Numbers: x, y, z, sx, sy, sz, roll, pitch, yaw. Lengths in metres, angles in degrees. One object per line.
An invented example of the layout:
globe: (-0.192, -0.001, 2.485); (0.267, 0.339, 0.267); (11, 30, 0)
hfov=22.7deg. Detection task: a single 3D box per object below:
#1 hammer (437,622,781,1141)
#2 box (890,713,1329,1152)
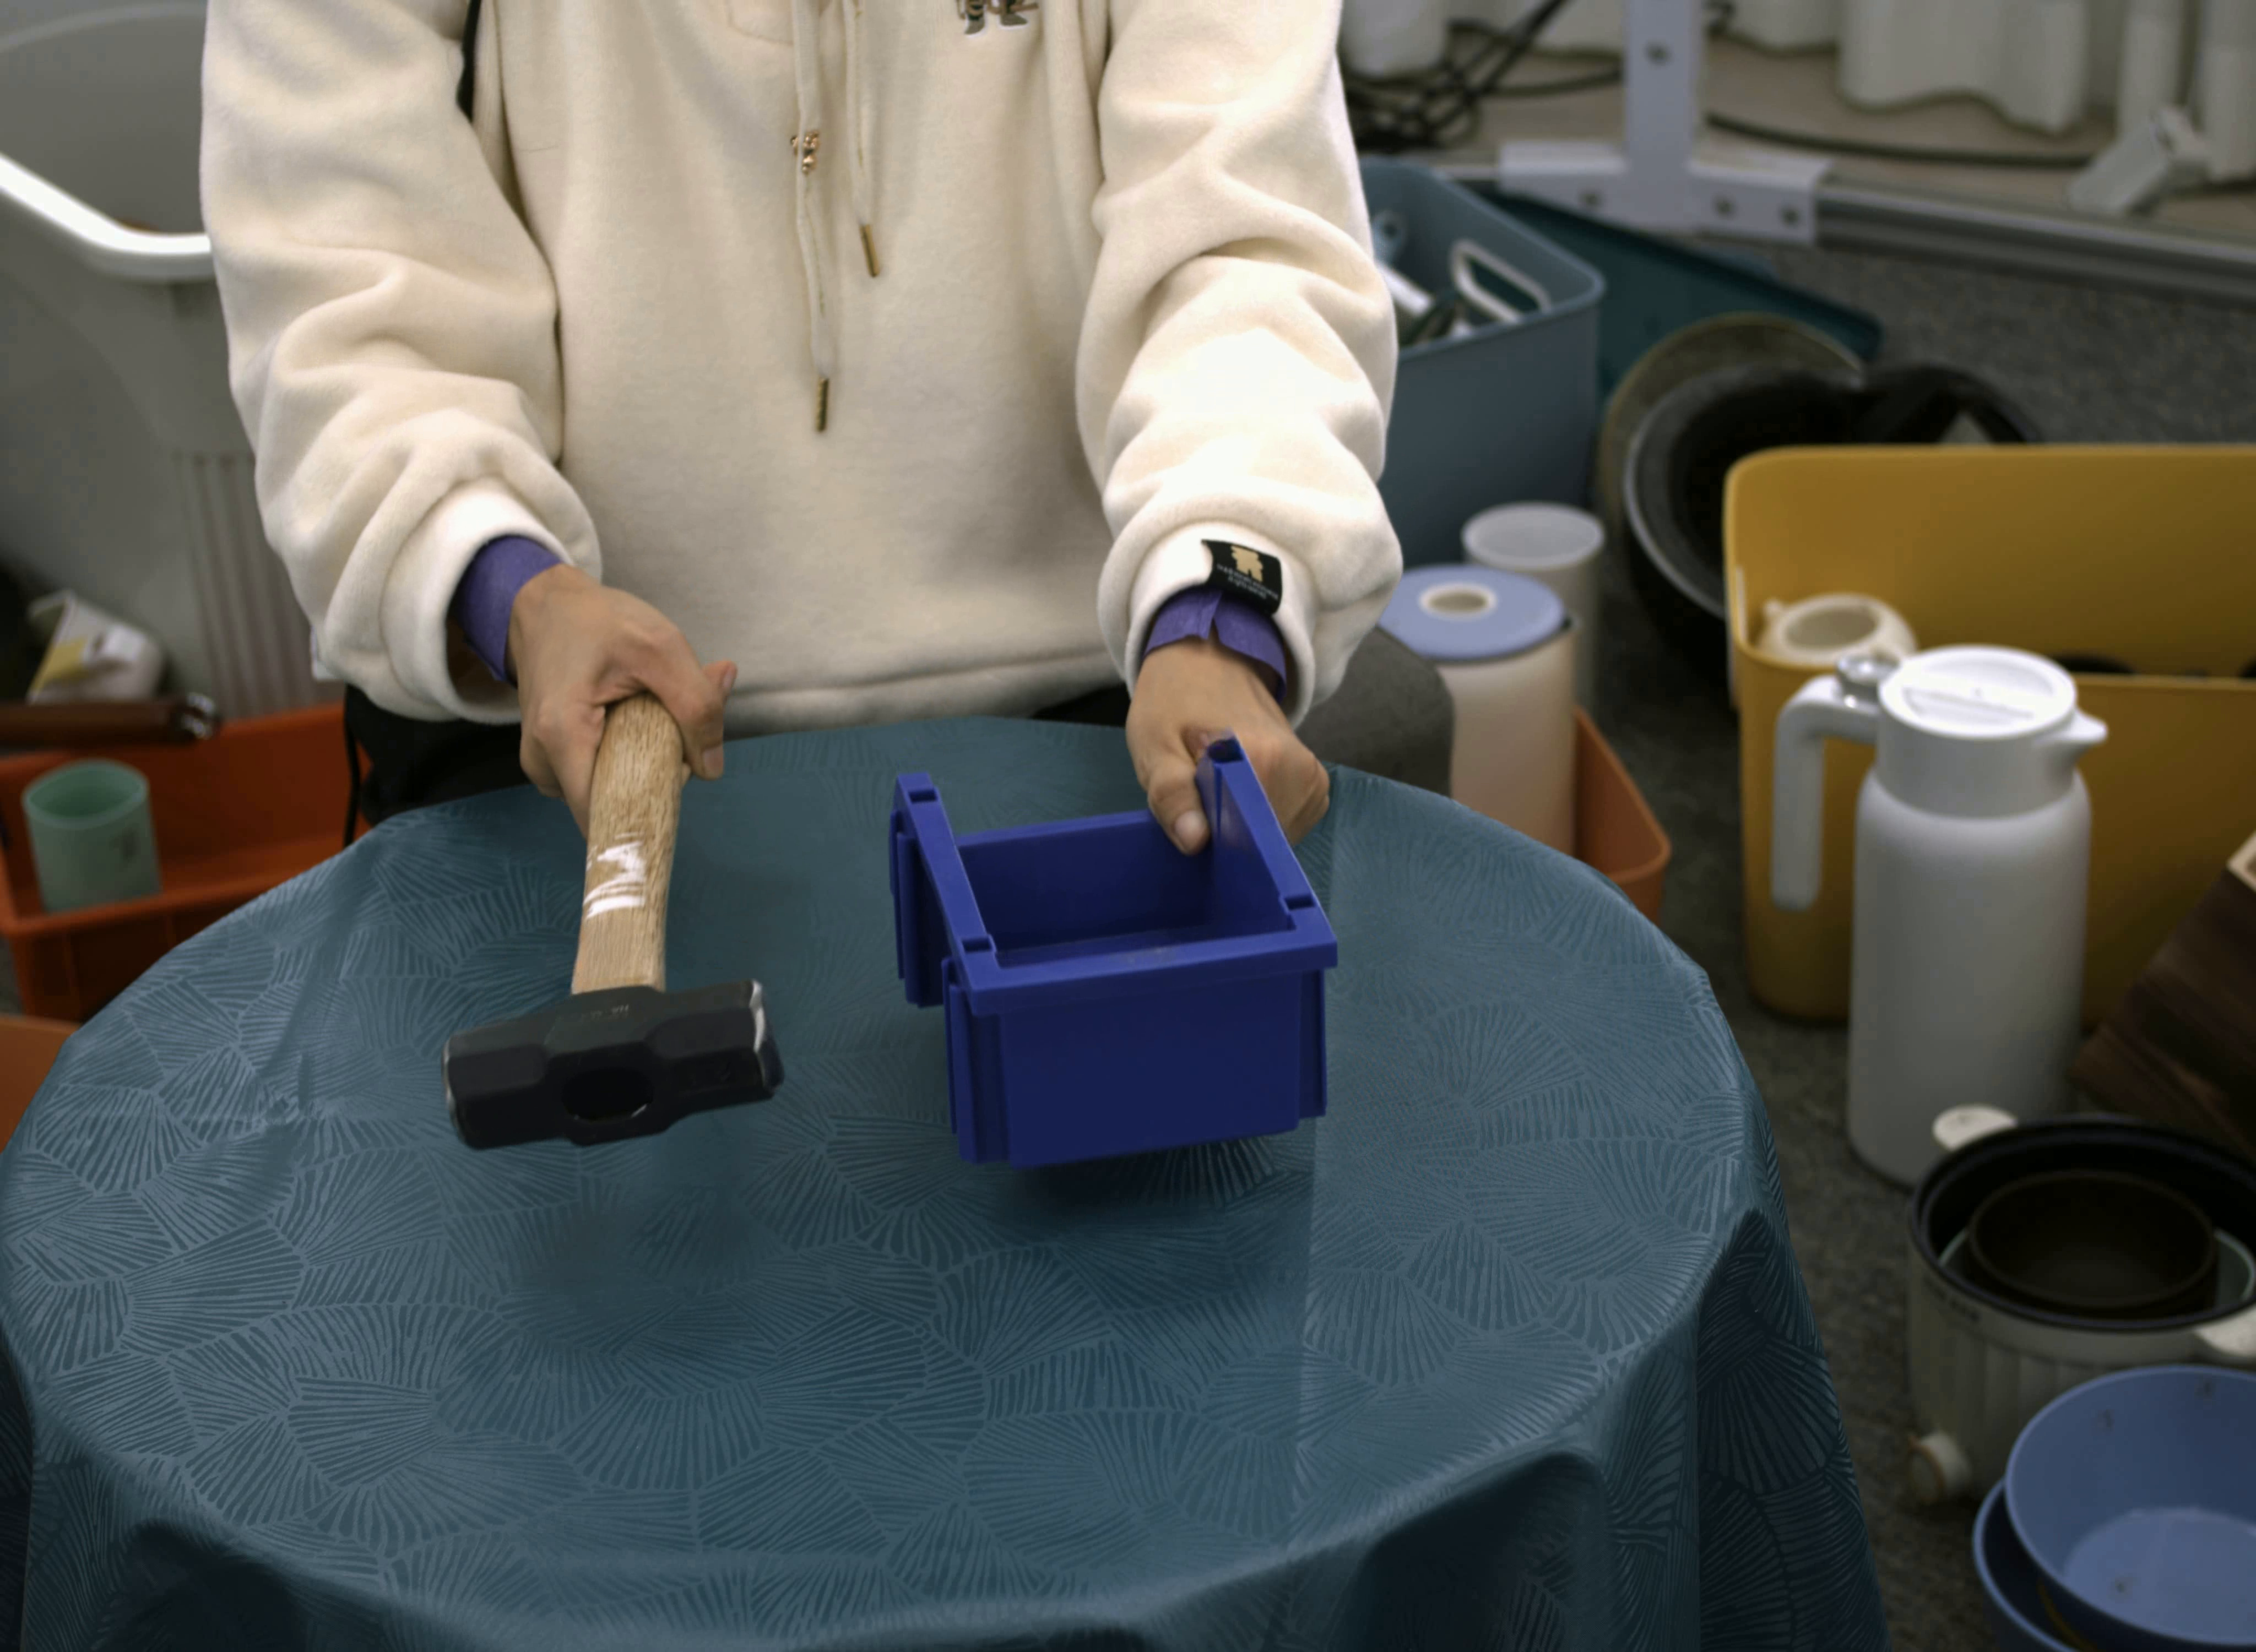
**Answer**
hammer: (-0.166, 0.010, 1.924); (0.106, 0.038, 0.310); (-9, 28, 5)
box: (-0.011, 0.031, 1.897); (0.124, 0.081, 0.182); (-7, 31, -9)
